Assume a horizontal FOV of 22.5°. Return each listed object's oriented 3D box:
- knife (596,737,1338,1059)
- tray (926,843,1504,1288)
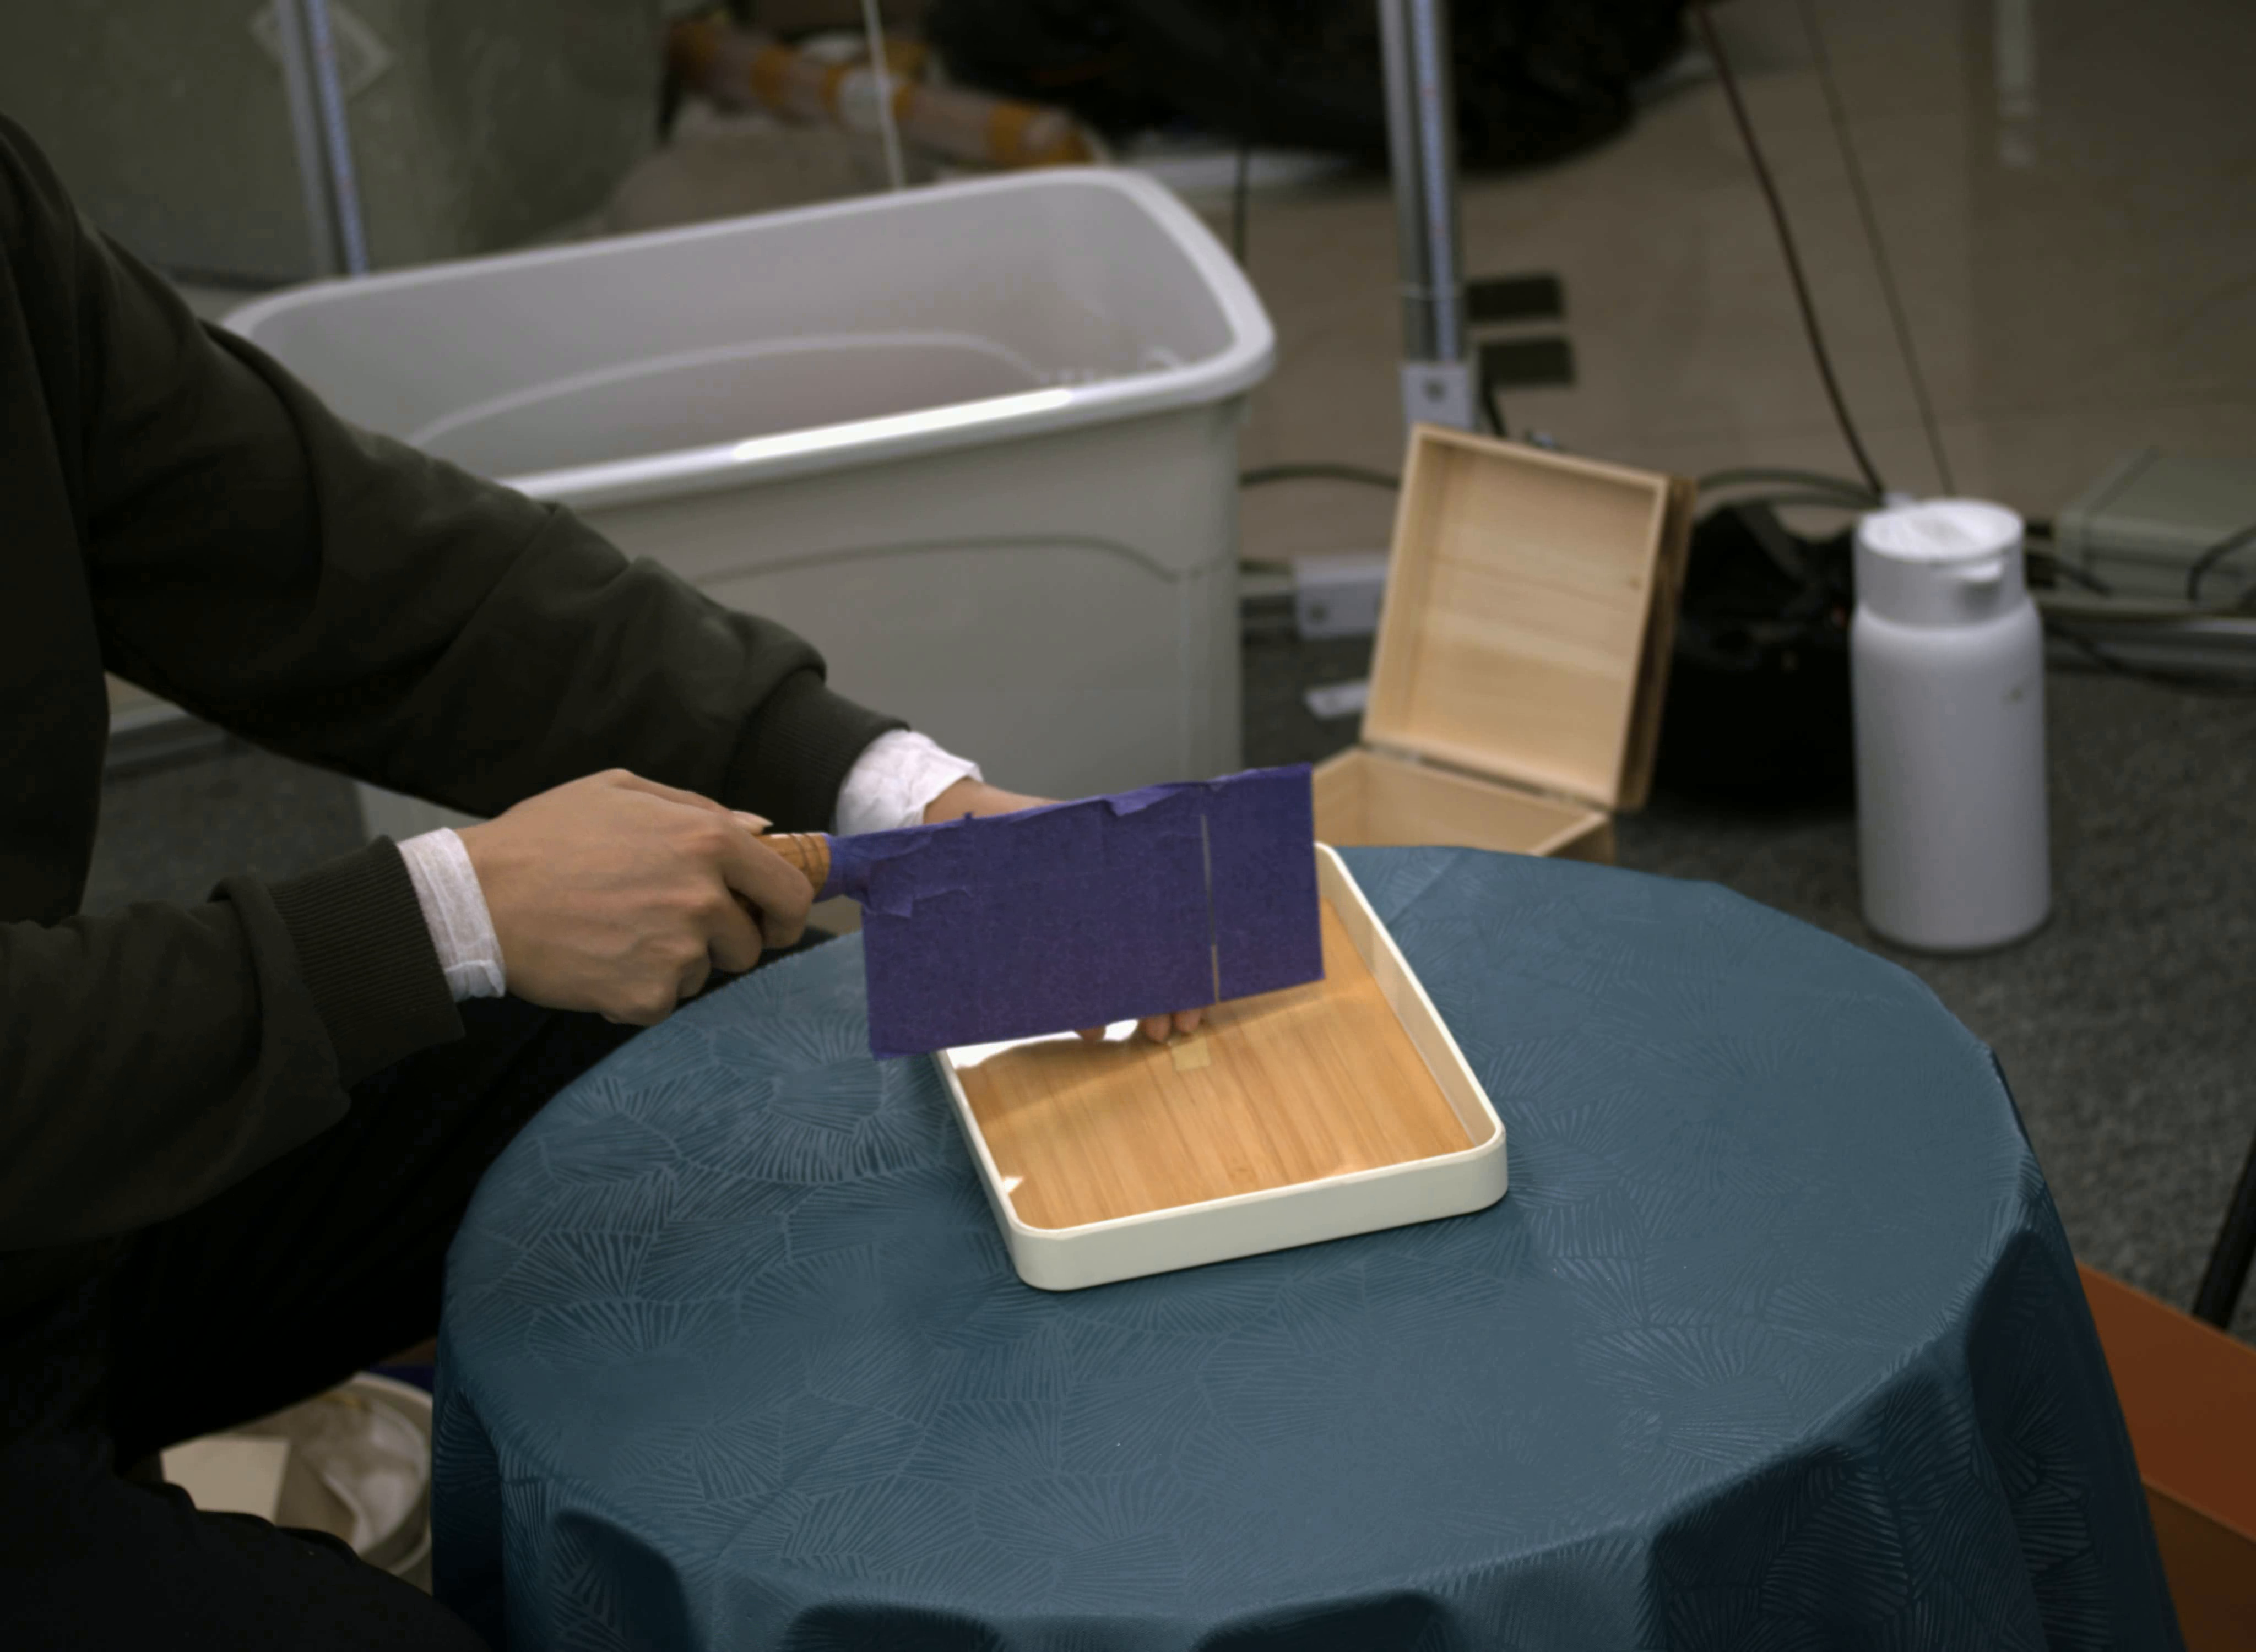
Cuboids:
[{"bbox_3d":[-0.053,0.039,2.181,0.314,0.105,0.032,-10,13,-27],"label":"knife"},{"bbox_3d":[0.021,0.088,2.221,0.191,0.028,0.296,-10,25,-8],"label":"tray"}]
